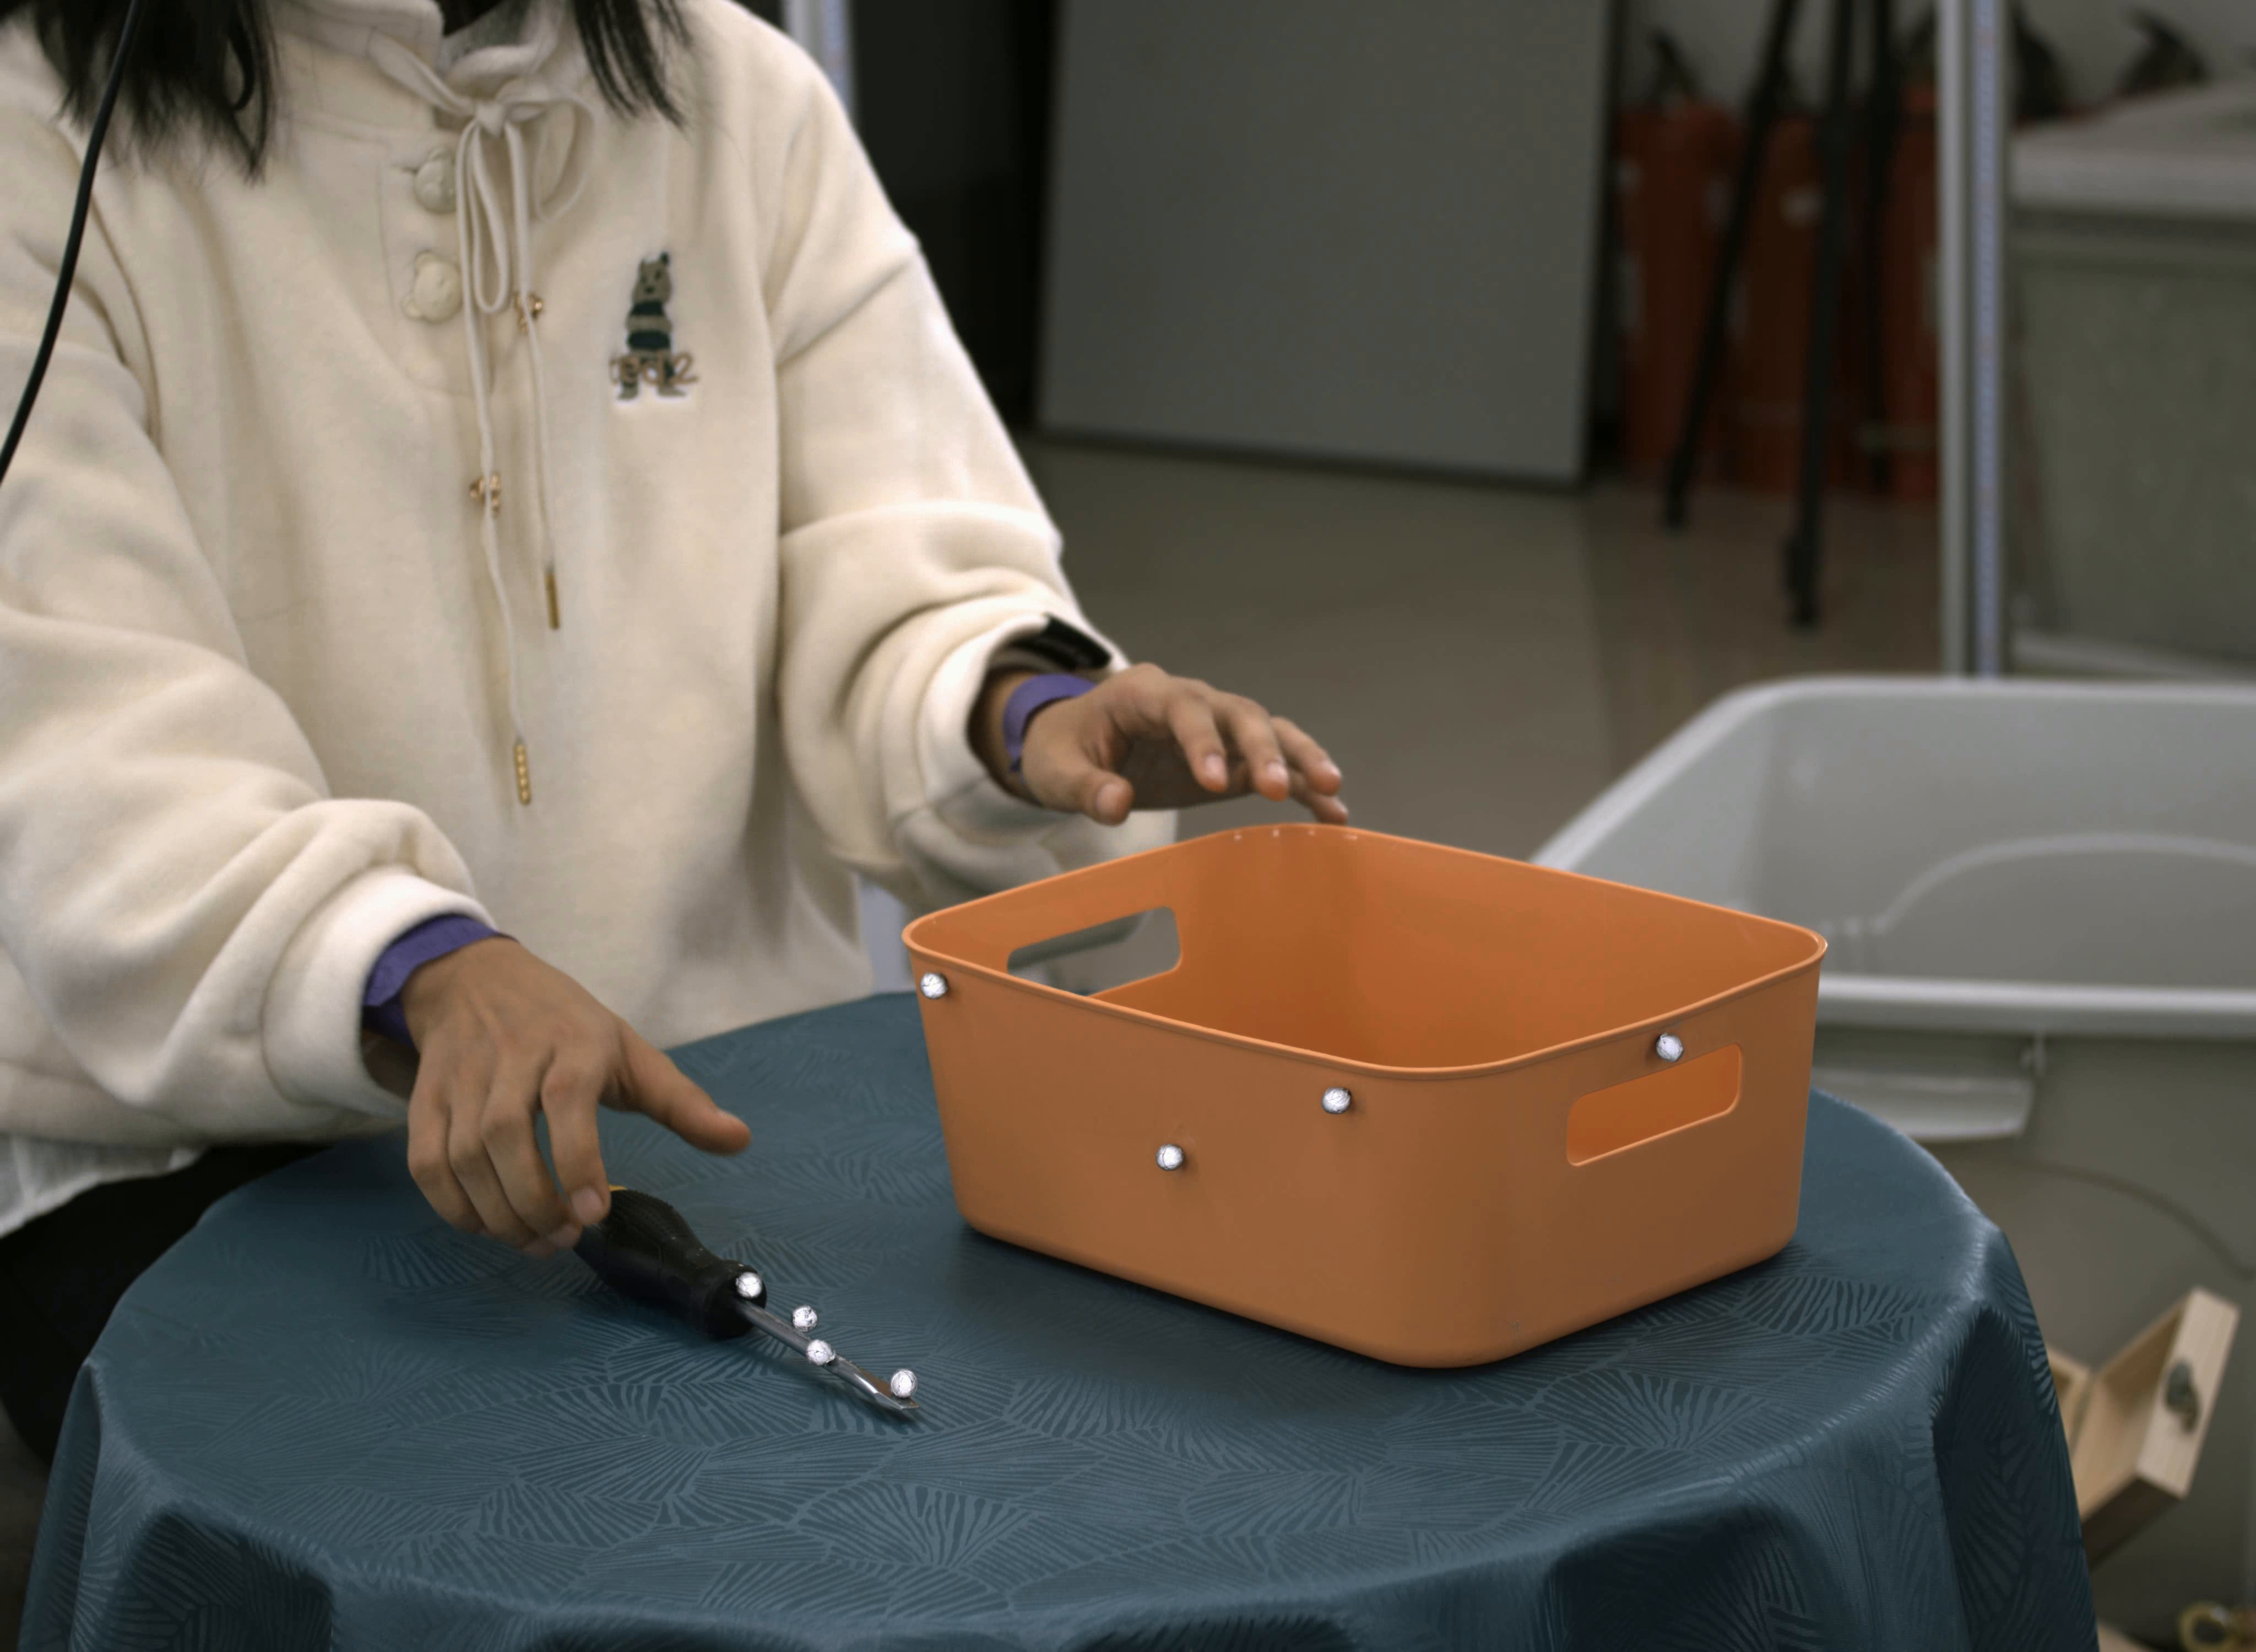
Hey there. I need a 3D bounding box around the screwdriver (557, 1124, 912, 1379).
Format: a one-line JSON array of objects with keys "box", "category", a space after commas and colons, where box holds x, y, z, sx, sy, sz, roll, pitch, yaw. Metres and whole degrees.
[{"box": [-0.117, 0.133, 1.660, 0.031, 0.032, 0.200, -13, 25, -35], "category": "screwdriver"}]

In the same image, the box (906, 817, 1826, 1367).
[{"box": [0.075, 0.080, 1.695, 0.195, 0.103, 0.276, -16, 18, -38], "category": "box"}]
